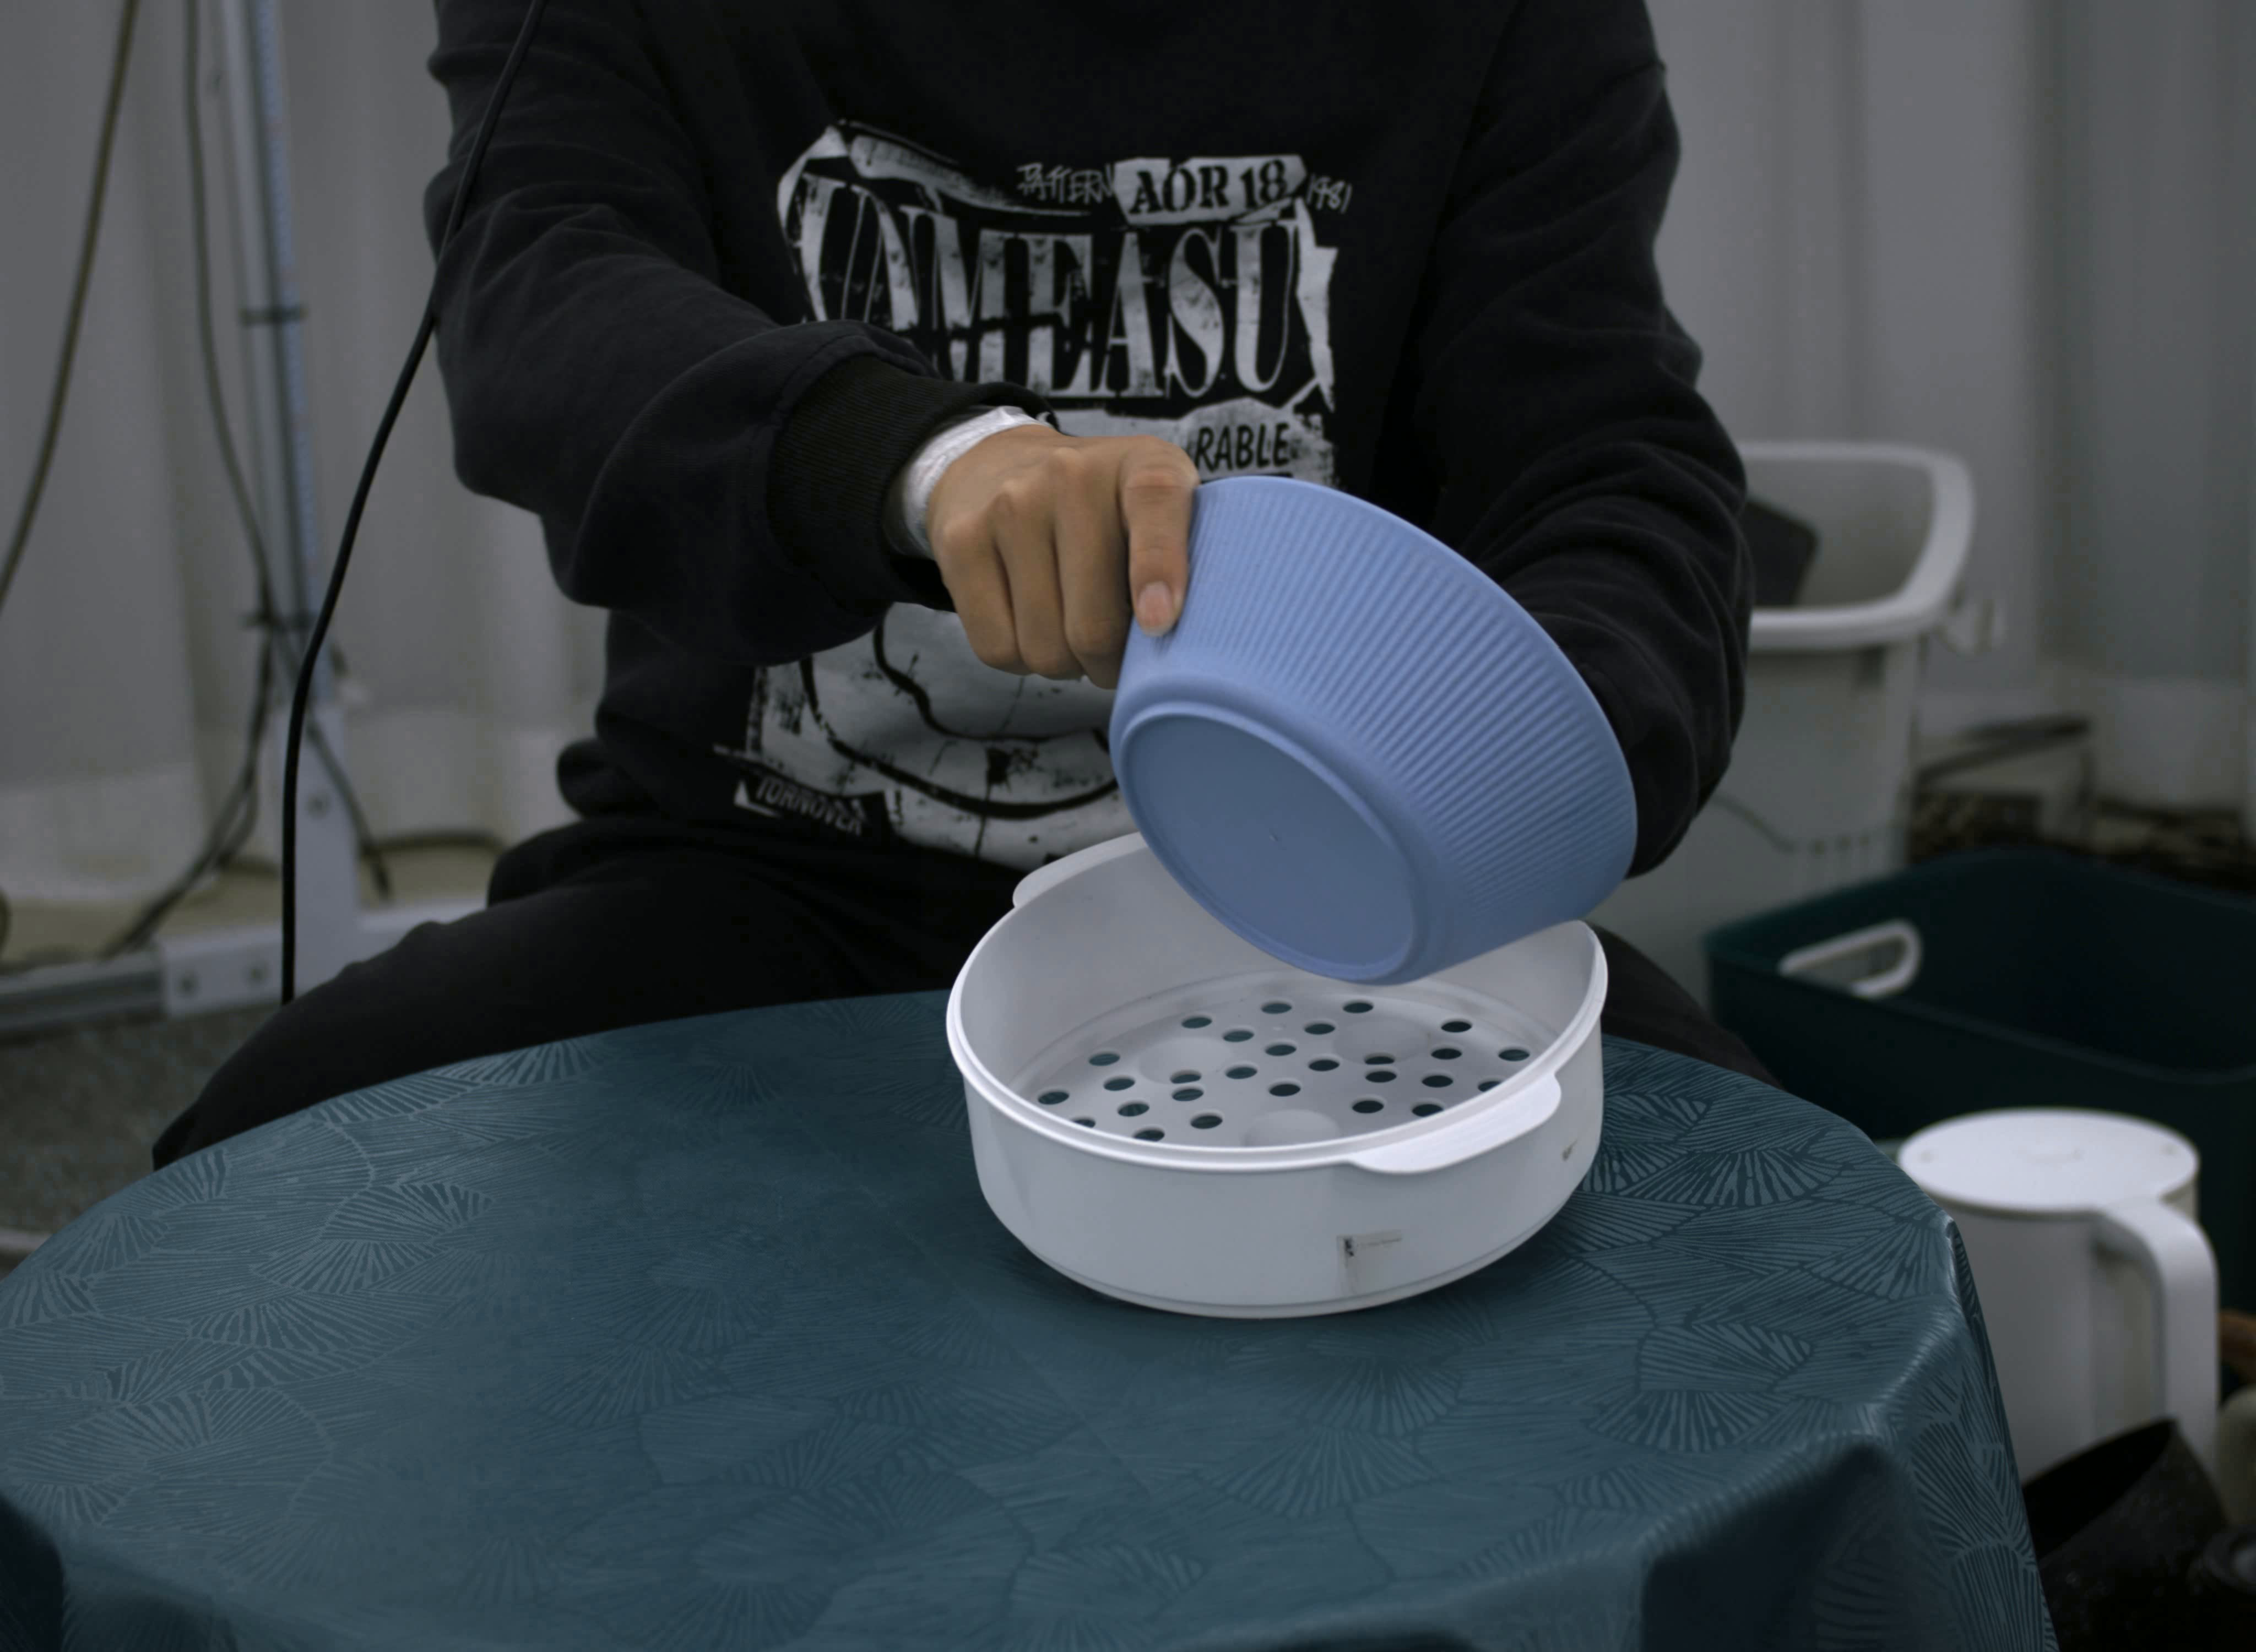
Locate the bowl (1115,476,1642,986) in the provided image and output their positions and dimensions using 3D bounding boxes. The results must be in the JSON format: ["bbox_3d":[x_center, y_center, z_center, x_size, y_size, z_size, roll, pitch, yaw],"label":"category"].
[{"bbox_3d":[0.061,-0.016,1.628,0.177,0.174,0.071,11,48,42],"label":"bowl"}]

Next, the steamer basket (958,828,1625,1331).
[{"bbox_3d":[0.051,0.076,1.658,0.201,0.068,0.233,-20,34,-26],"label":"steamer basket"}]
